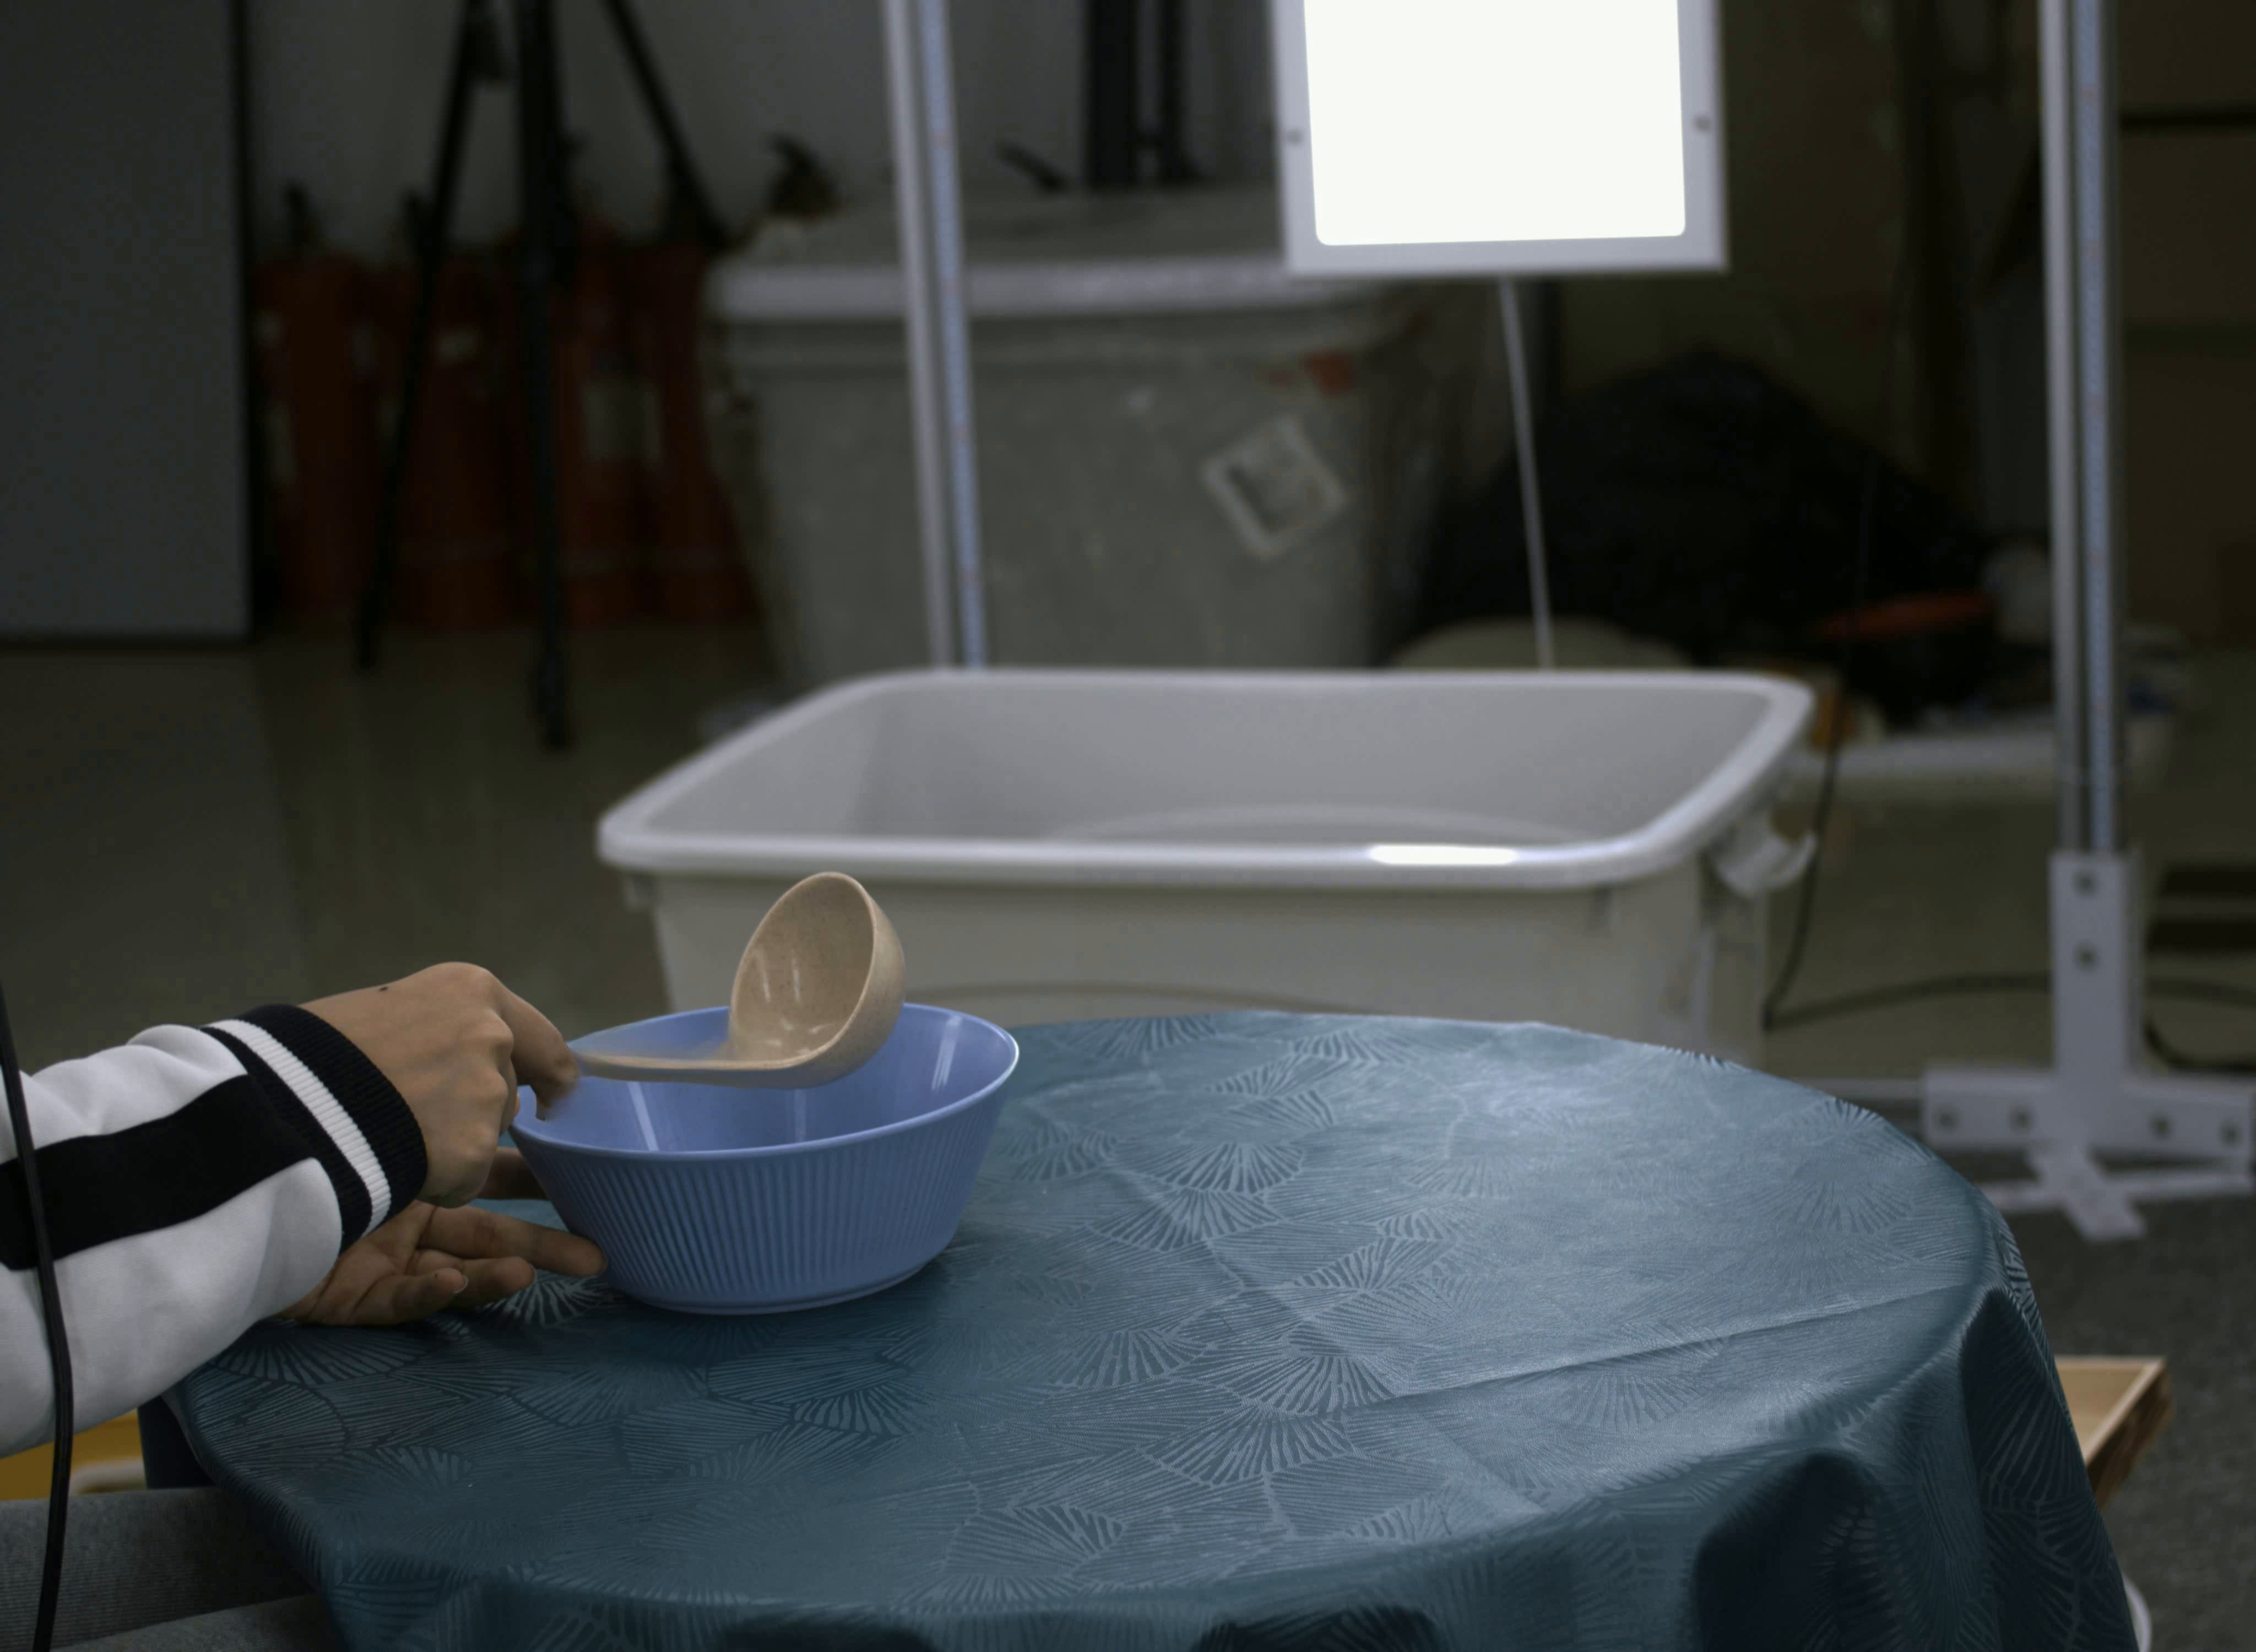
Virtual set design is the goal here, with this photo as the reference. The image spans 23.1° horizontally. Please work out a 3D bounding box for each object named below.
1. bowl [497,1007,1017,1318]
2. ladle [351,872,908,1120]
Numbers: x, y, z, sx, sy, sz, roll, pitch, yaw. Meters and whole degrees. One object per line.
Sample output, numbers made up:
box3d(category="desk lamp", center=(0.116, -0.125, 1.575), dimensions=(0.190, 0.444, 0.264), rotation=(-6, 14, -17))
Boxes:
box3d(category="bowl", center=(-0.121, 0.115, 1.846), dimensions=(0.175, 0.070, 0.176), rotation=(-5, 13, 0))
box3d(category="ladle", center=(-0.166, 0.053, 1.765), dimensions=(0.073, 0.073, 0.248), rotation=(-27, -16, 35))
